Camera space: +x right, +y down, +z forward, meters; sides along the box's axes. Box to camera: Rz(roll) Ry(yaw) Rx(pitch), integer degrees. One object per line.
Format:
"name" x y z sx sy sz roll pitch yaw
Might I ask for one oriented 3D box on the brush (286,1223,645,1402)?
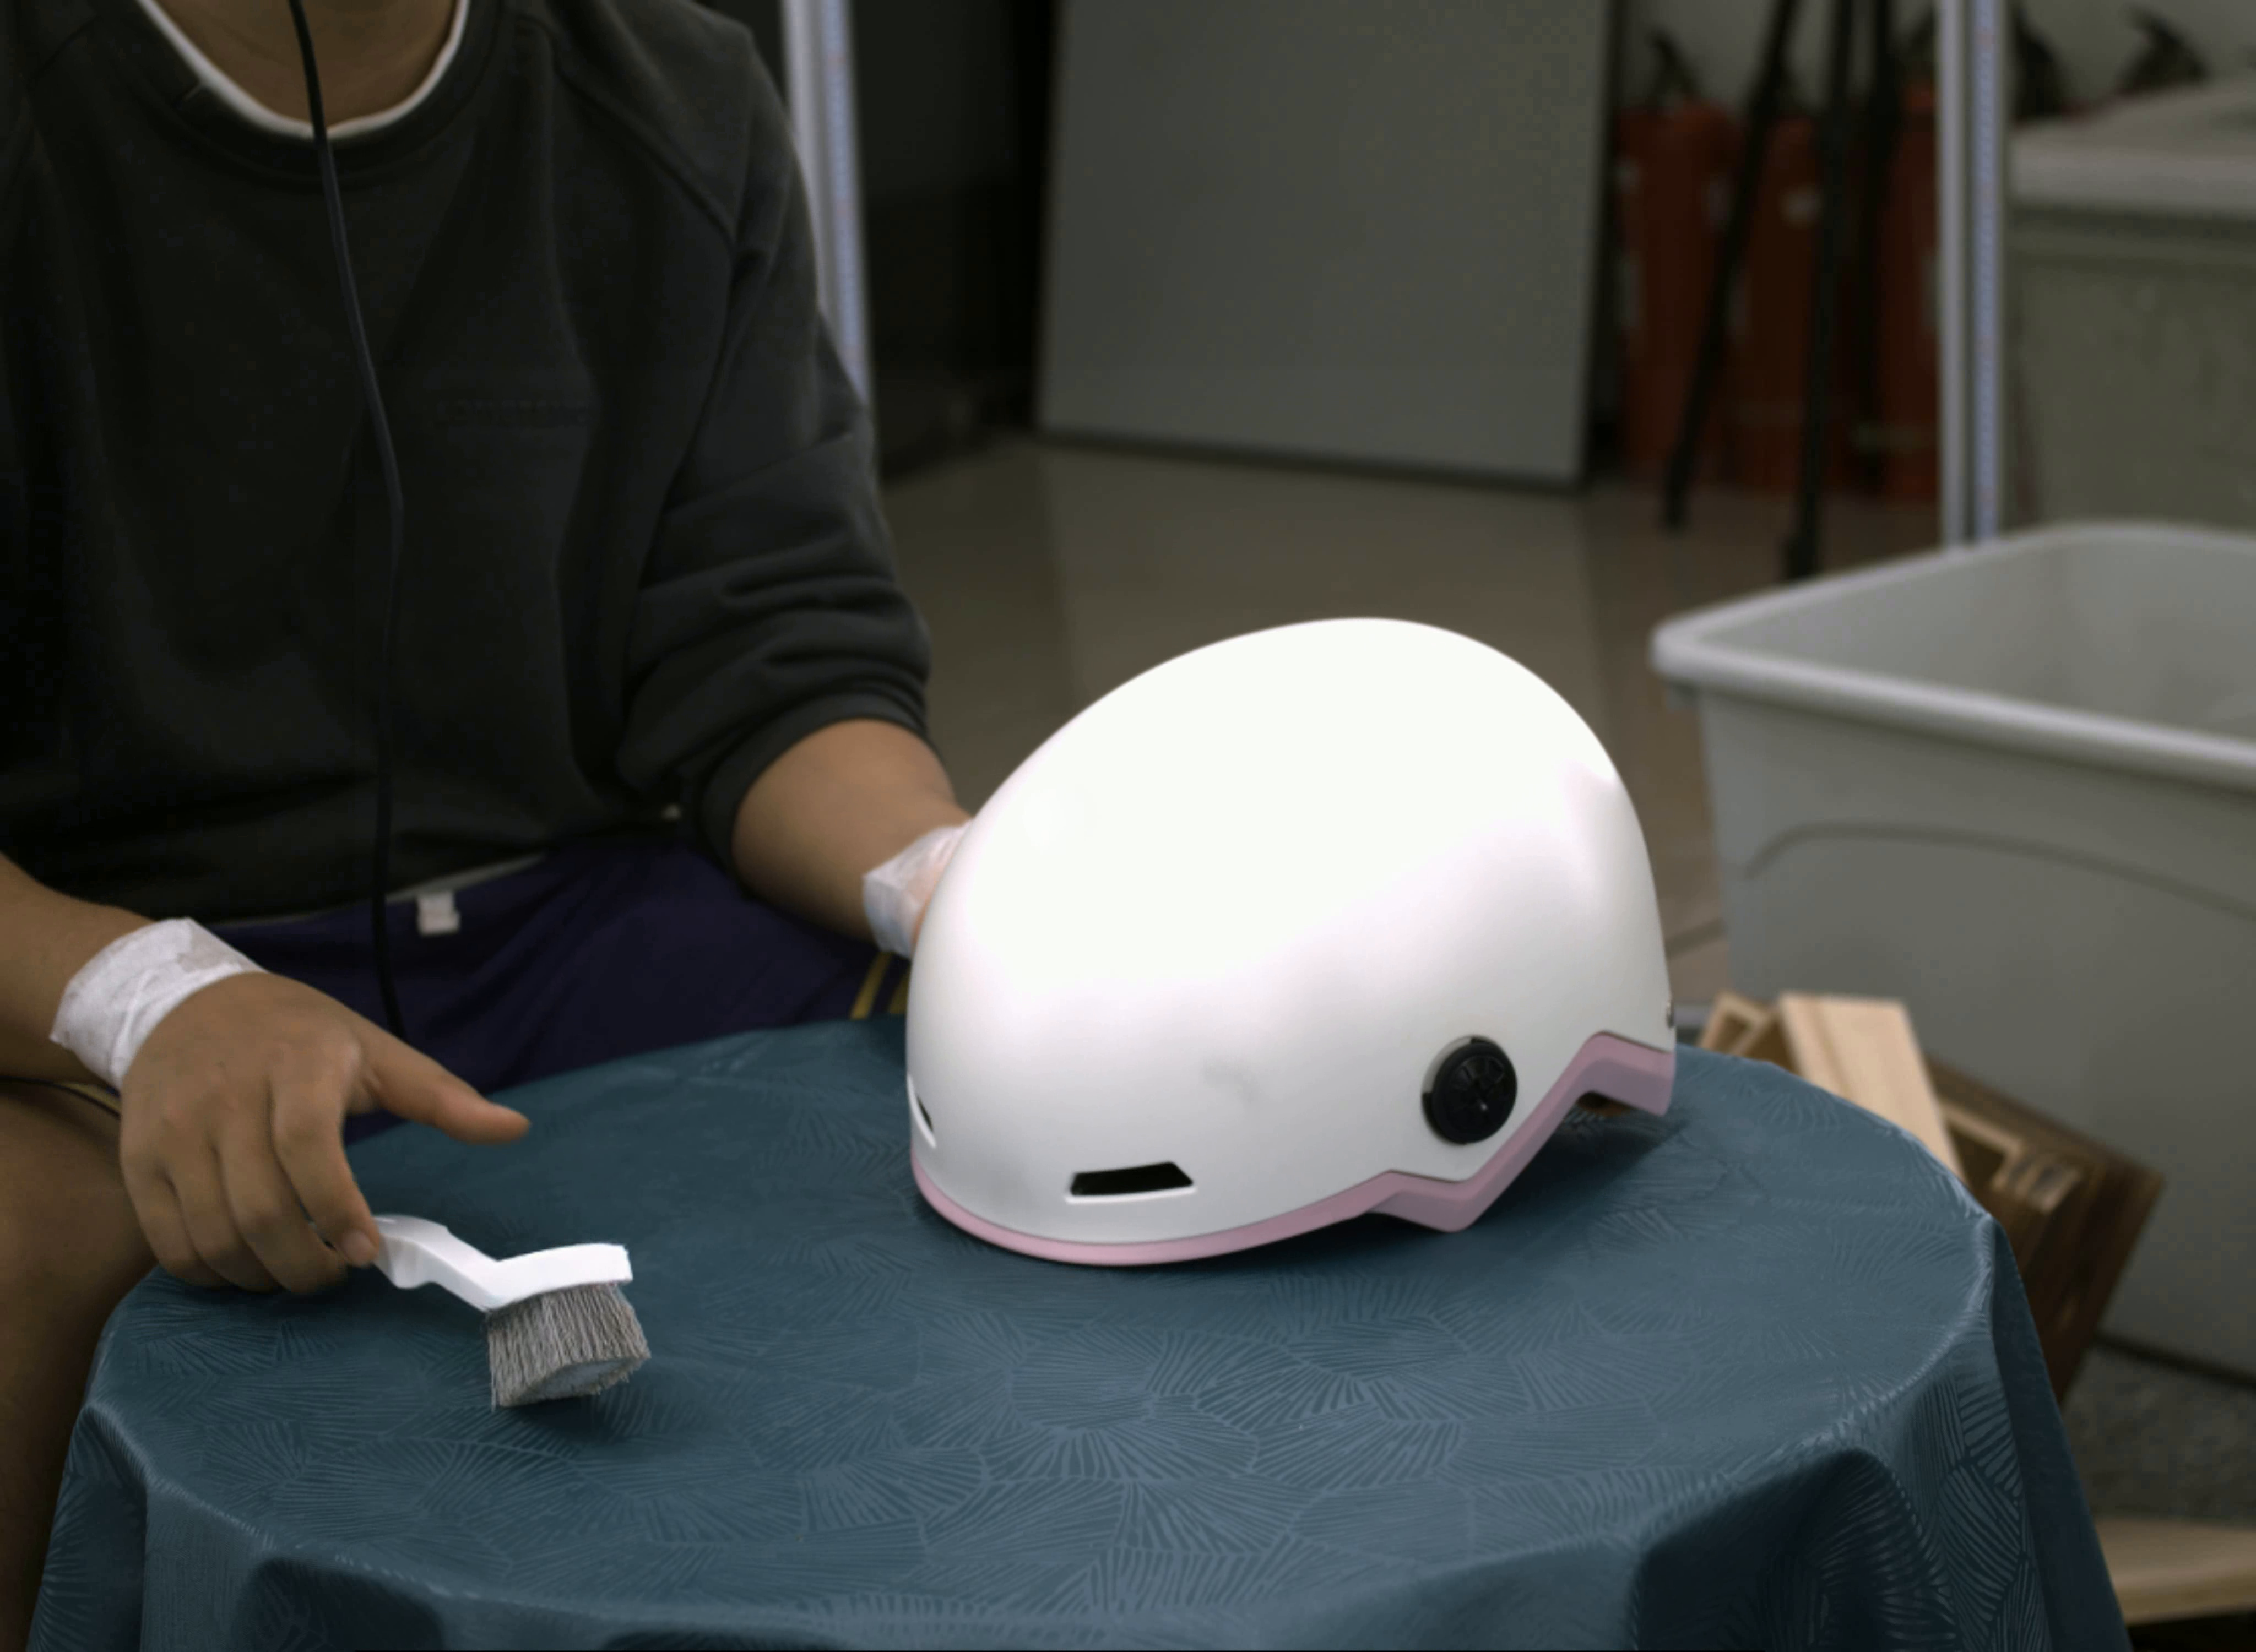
"brush" -0.208 0.148 1.666 0.033 0.051 0.246 -6 0 -28

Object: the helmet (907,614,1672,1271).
"helmet" 0.051 0.025 1.771 0.263 0.169 0.239 -18 23 -36
